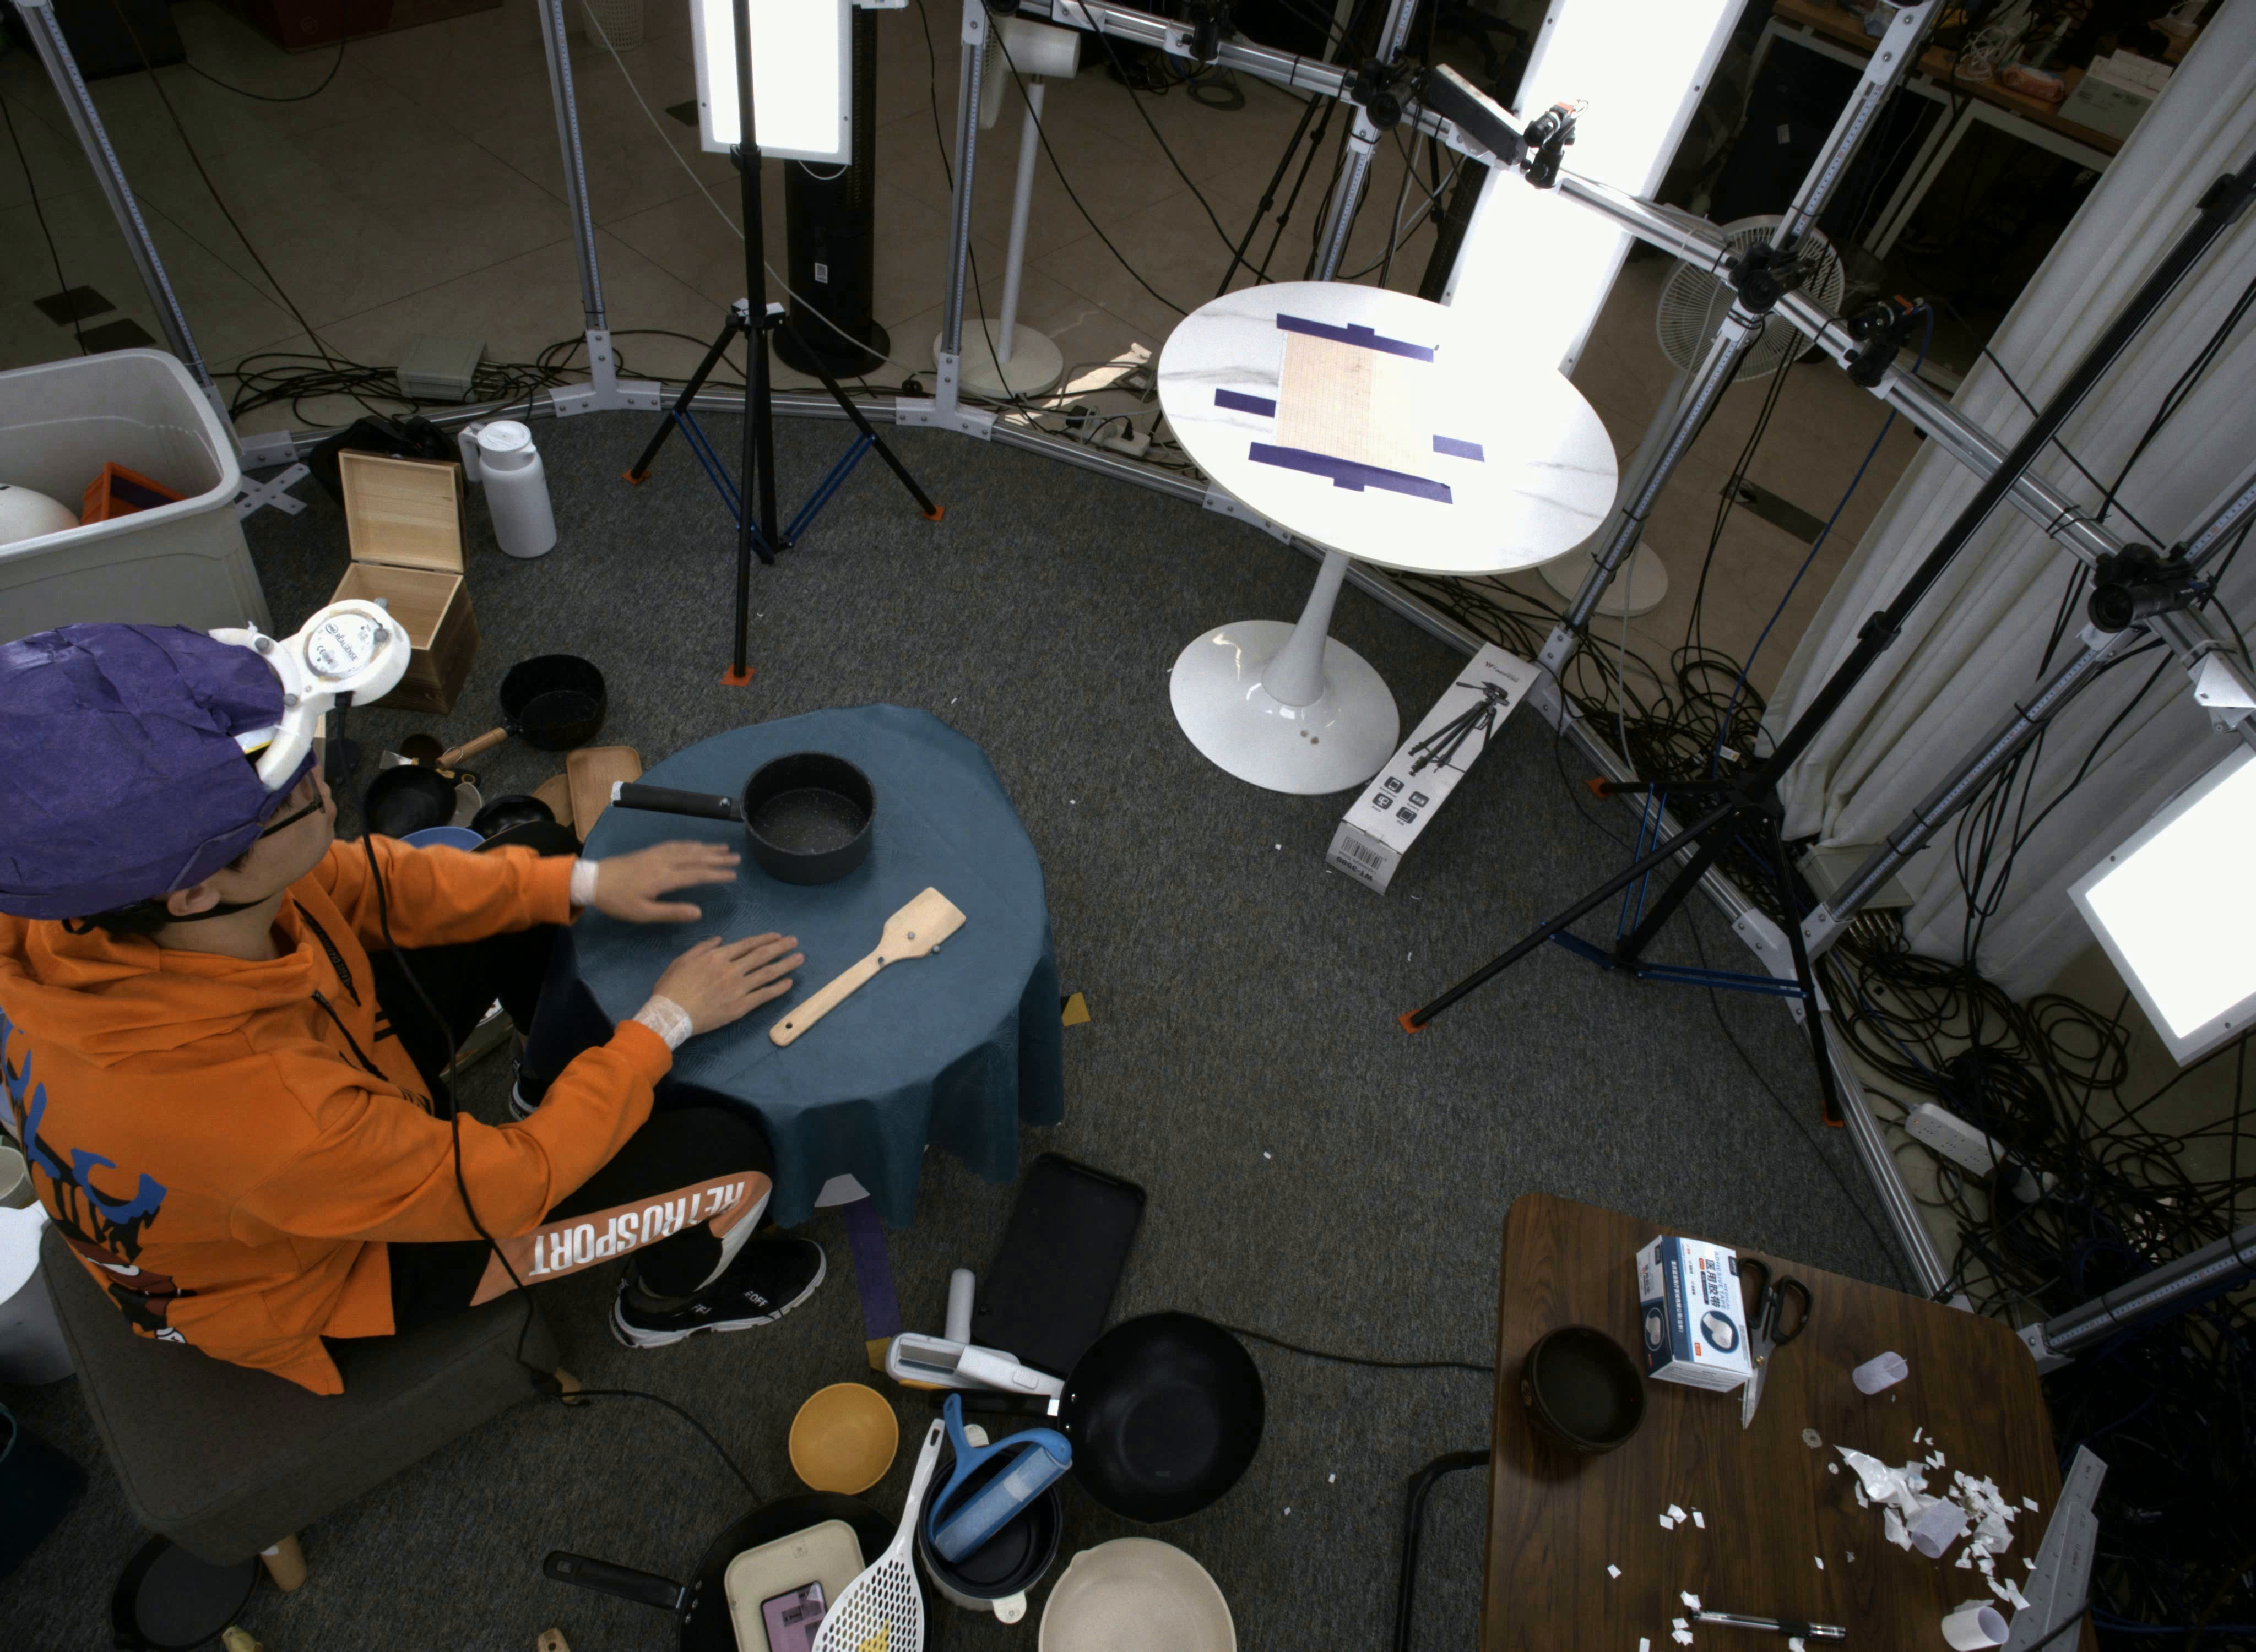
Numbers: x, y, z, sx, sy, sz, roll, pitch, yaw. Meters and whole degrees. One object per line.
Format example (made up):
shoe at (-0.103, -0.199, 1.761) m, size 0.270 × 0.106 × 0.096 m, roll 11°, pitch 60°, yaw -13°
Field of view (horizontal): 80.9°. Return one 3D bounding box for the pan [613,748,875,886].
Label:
pan at (-0.491, -0.018, 1.655) m, size 0.329 × 0.088 × 0.168 m, roll 5°, pitch 51°, yaw -13°

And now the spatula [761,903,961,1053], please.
spatula at (-0.331, 0.190, 1.606) m, size 0.071 × 0.011 × 0.294 m, roll 47°, pitch 52°, yaw 10°
